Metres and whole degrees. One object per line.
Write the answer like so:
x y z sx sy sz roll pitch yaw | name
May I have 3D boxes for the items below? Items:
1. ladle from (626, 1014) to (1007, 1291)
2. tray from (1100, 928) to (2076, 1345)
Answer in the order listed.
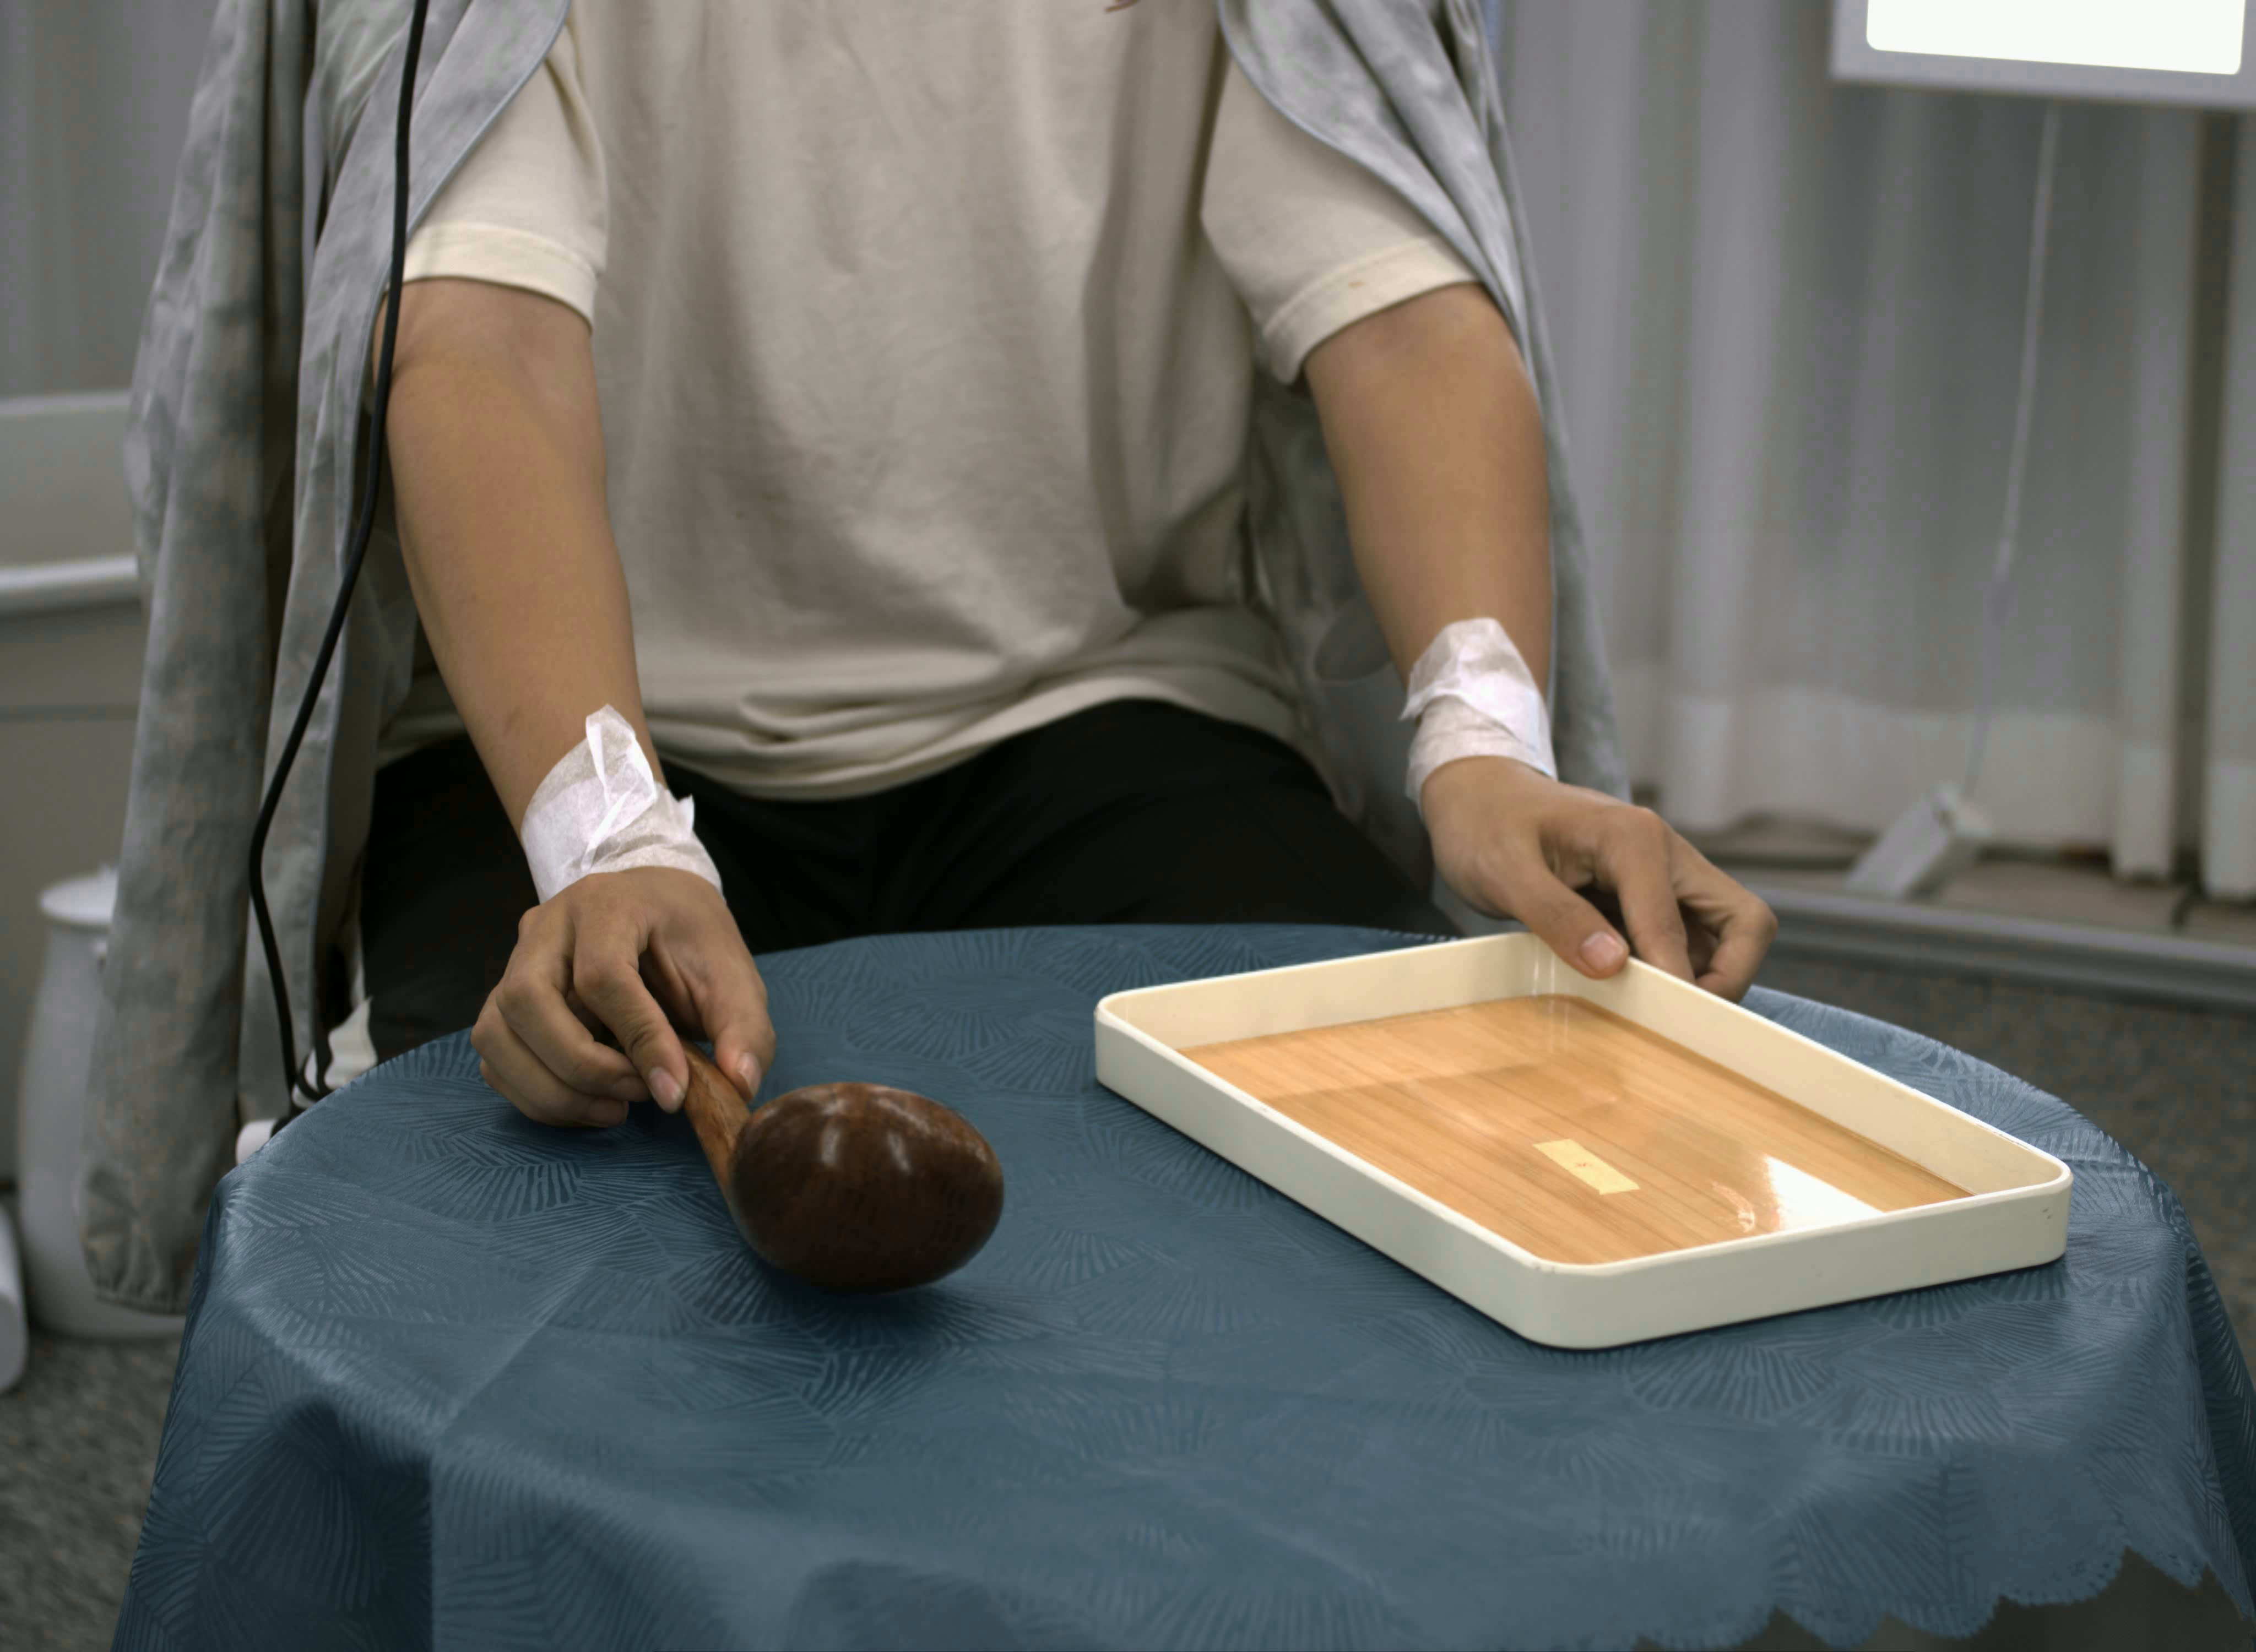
-0.105 0.076 1.610 0.082 0.077 0.271 35 4 -21 | ladle
0.137 0.092 1.652 0.192 0.027 0.296 -8 17 -27 | tray
